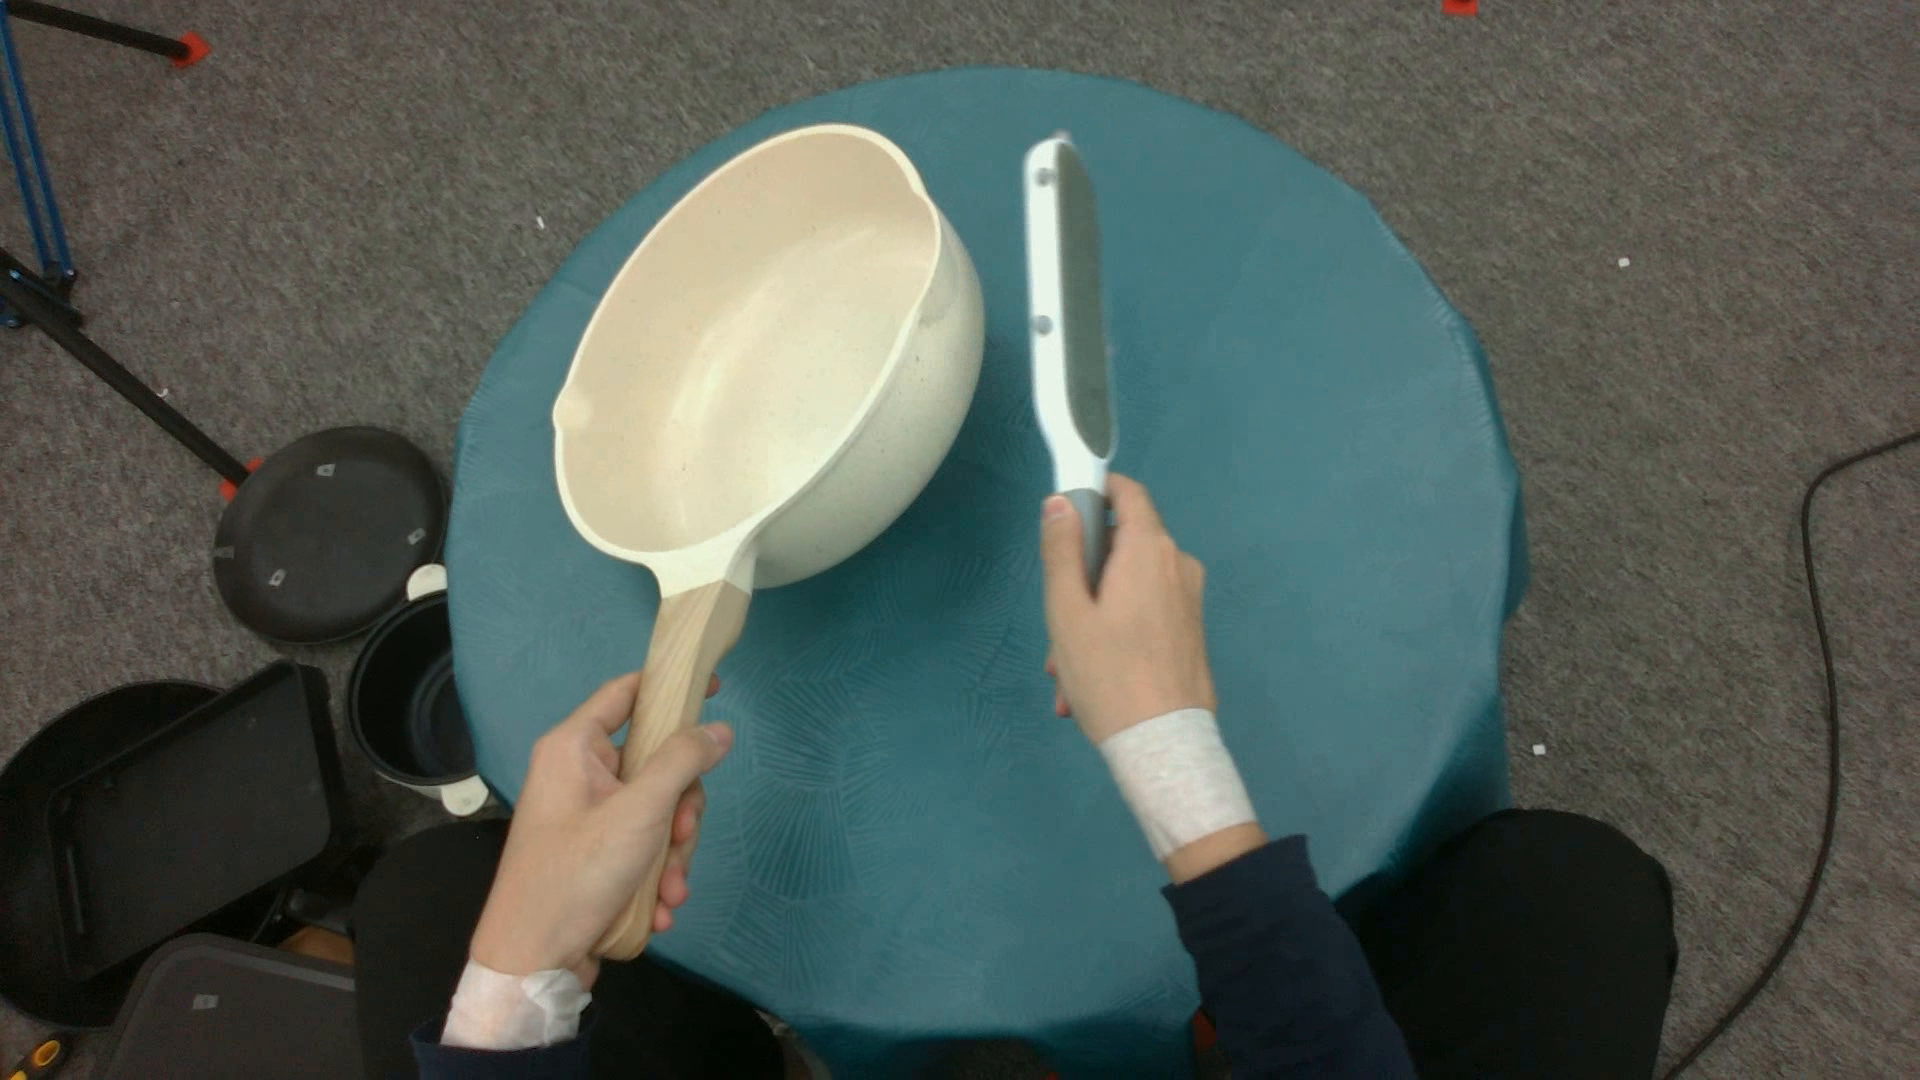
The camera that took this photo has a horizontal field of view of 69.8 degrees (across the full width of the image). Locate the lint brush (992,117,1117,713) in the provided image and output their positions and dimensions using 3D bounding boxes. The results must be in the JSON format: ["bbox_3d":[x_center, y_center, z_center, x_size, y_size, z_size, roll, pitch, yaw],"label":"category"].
[{"bbox_3d":[0.044,-0.070,0.642,0.021,0.060,0.310,-16,64,25],"label":"lint brush"}]

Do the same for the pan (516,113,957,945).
[{"bbox_3d":[-0.116,-0.017,0.673,0.262,0.102,0.436,-15,58,28],"label":"pan"}]
